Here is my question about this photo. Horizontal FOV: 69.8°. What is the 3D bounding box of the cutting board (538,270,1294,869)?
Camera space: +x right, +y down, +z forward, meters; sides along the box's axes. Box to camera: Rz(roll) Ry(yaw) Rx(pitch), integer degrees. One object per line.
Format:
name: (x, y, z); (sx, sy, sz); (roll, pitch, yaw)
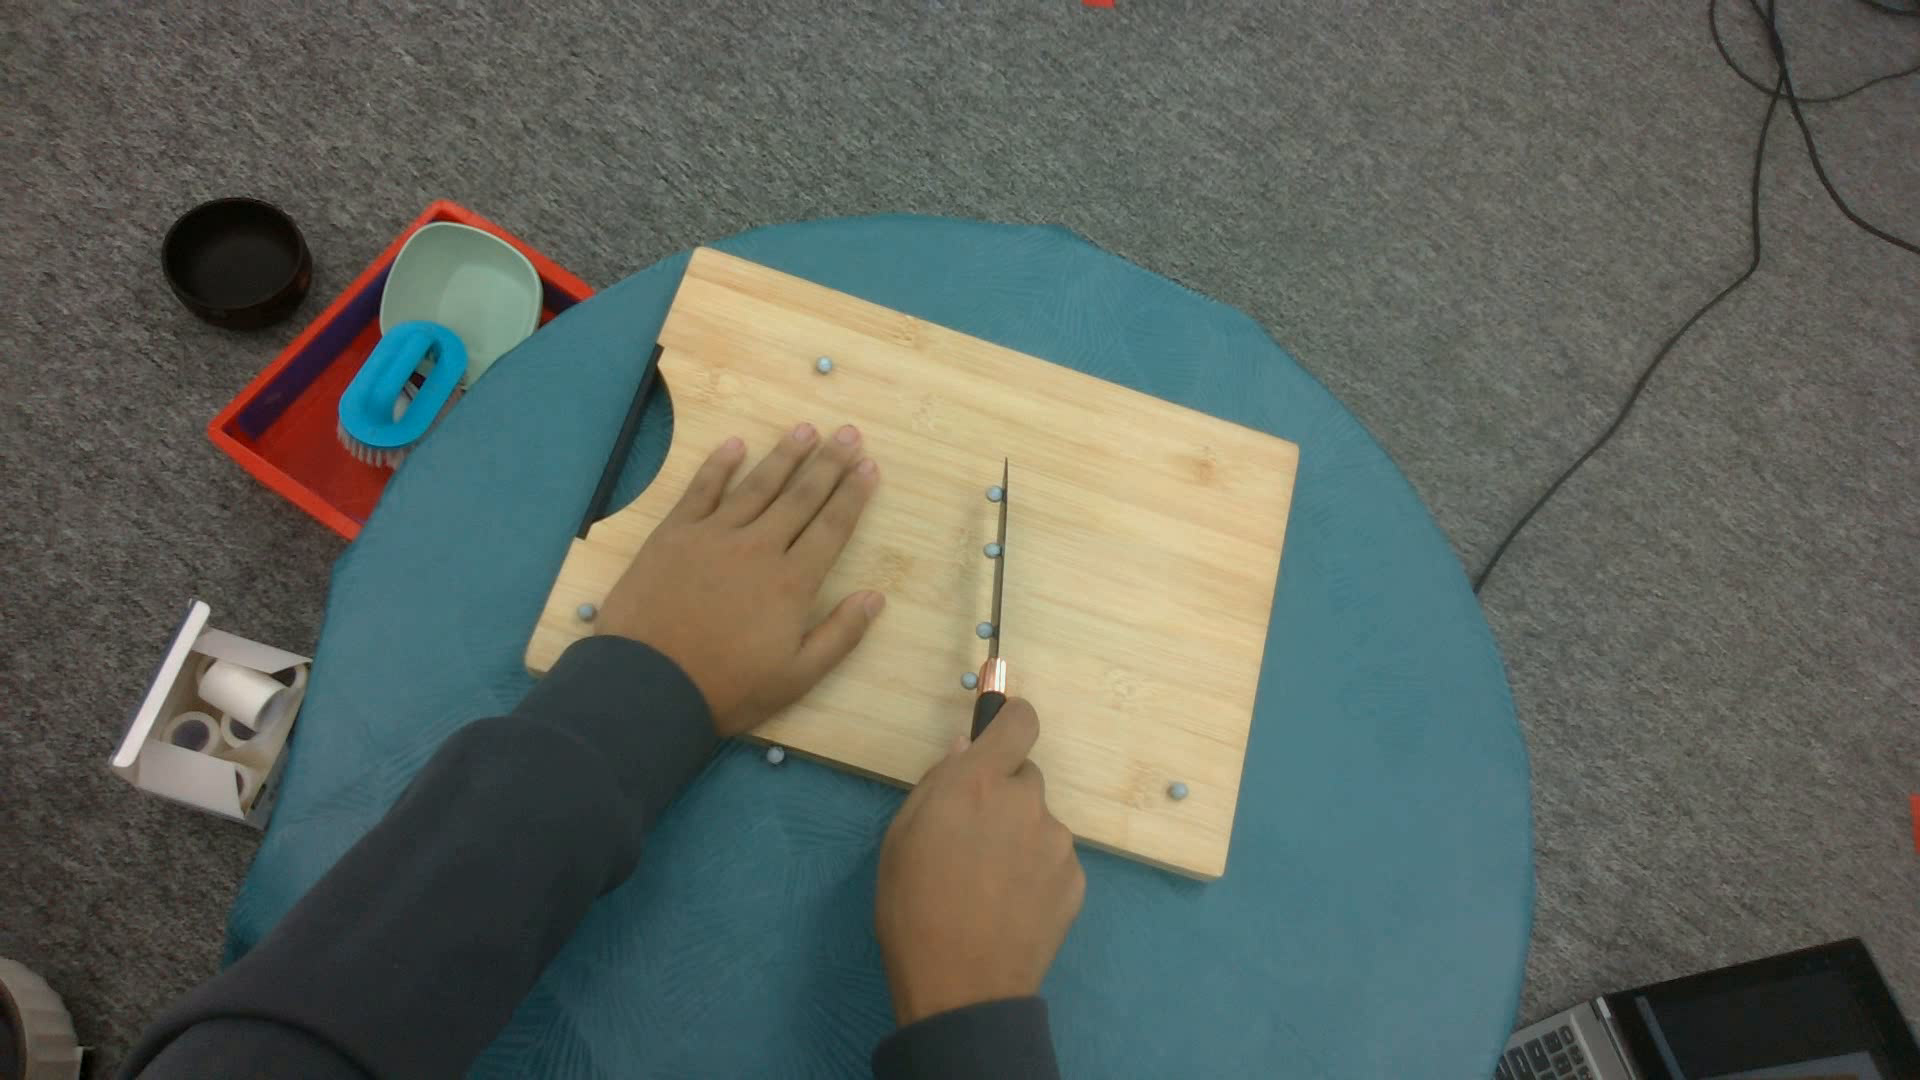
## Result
cutting board: (-0.008, 0.009, 0.708); (0.349, 0.023, 0.251); (14, 66, -4)

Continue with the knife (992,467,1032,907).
knife: (0.023, 0.062, 0.658); (0.017, 0.026, 0.226); (3, 64, -7)
